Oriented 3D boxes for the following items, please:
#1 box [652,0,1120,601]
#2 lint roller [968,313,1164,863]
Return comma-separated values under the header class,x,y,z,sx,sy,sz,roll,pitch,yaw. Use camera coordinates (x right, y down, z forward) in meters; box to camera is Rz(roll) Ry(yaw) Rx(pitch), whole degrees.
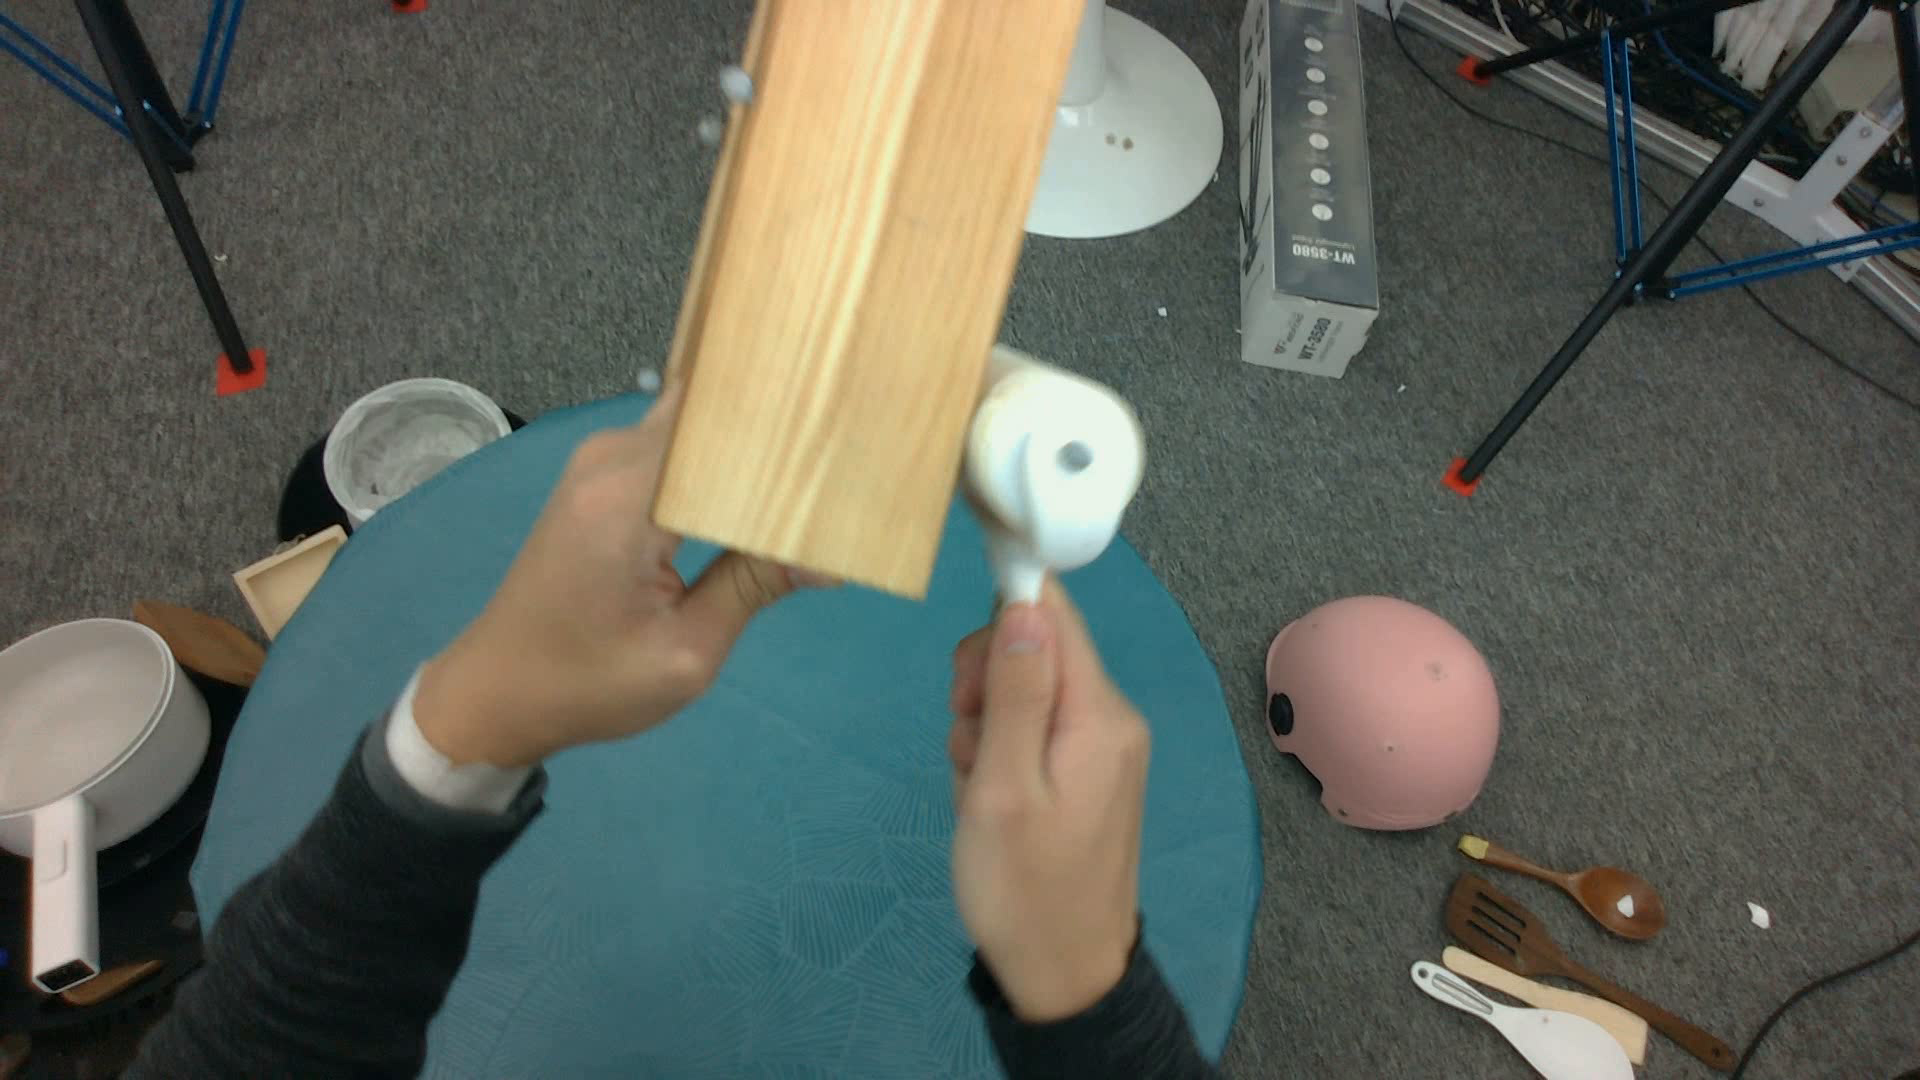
class,x,y,z,sx,sy,sz,roll,pitch,yaw
box,-0.026,-0.101,0.425,0.080,0.107,0.211,15,95,-17
lint roller,0.031,0.020,0.443,0.050,0.133,0.180,-11,105,-12
